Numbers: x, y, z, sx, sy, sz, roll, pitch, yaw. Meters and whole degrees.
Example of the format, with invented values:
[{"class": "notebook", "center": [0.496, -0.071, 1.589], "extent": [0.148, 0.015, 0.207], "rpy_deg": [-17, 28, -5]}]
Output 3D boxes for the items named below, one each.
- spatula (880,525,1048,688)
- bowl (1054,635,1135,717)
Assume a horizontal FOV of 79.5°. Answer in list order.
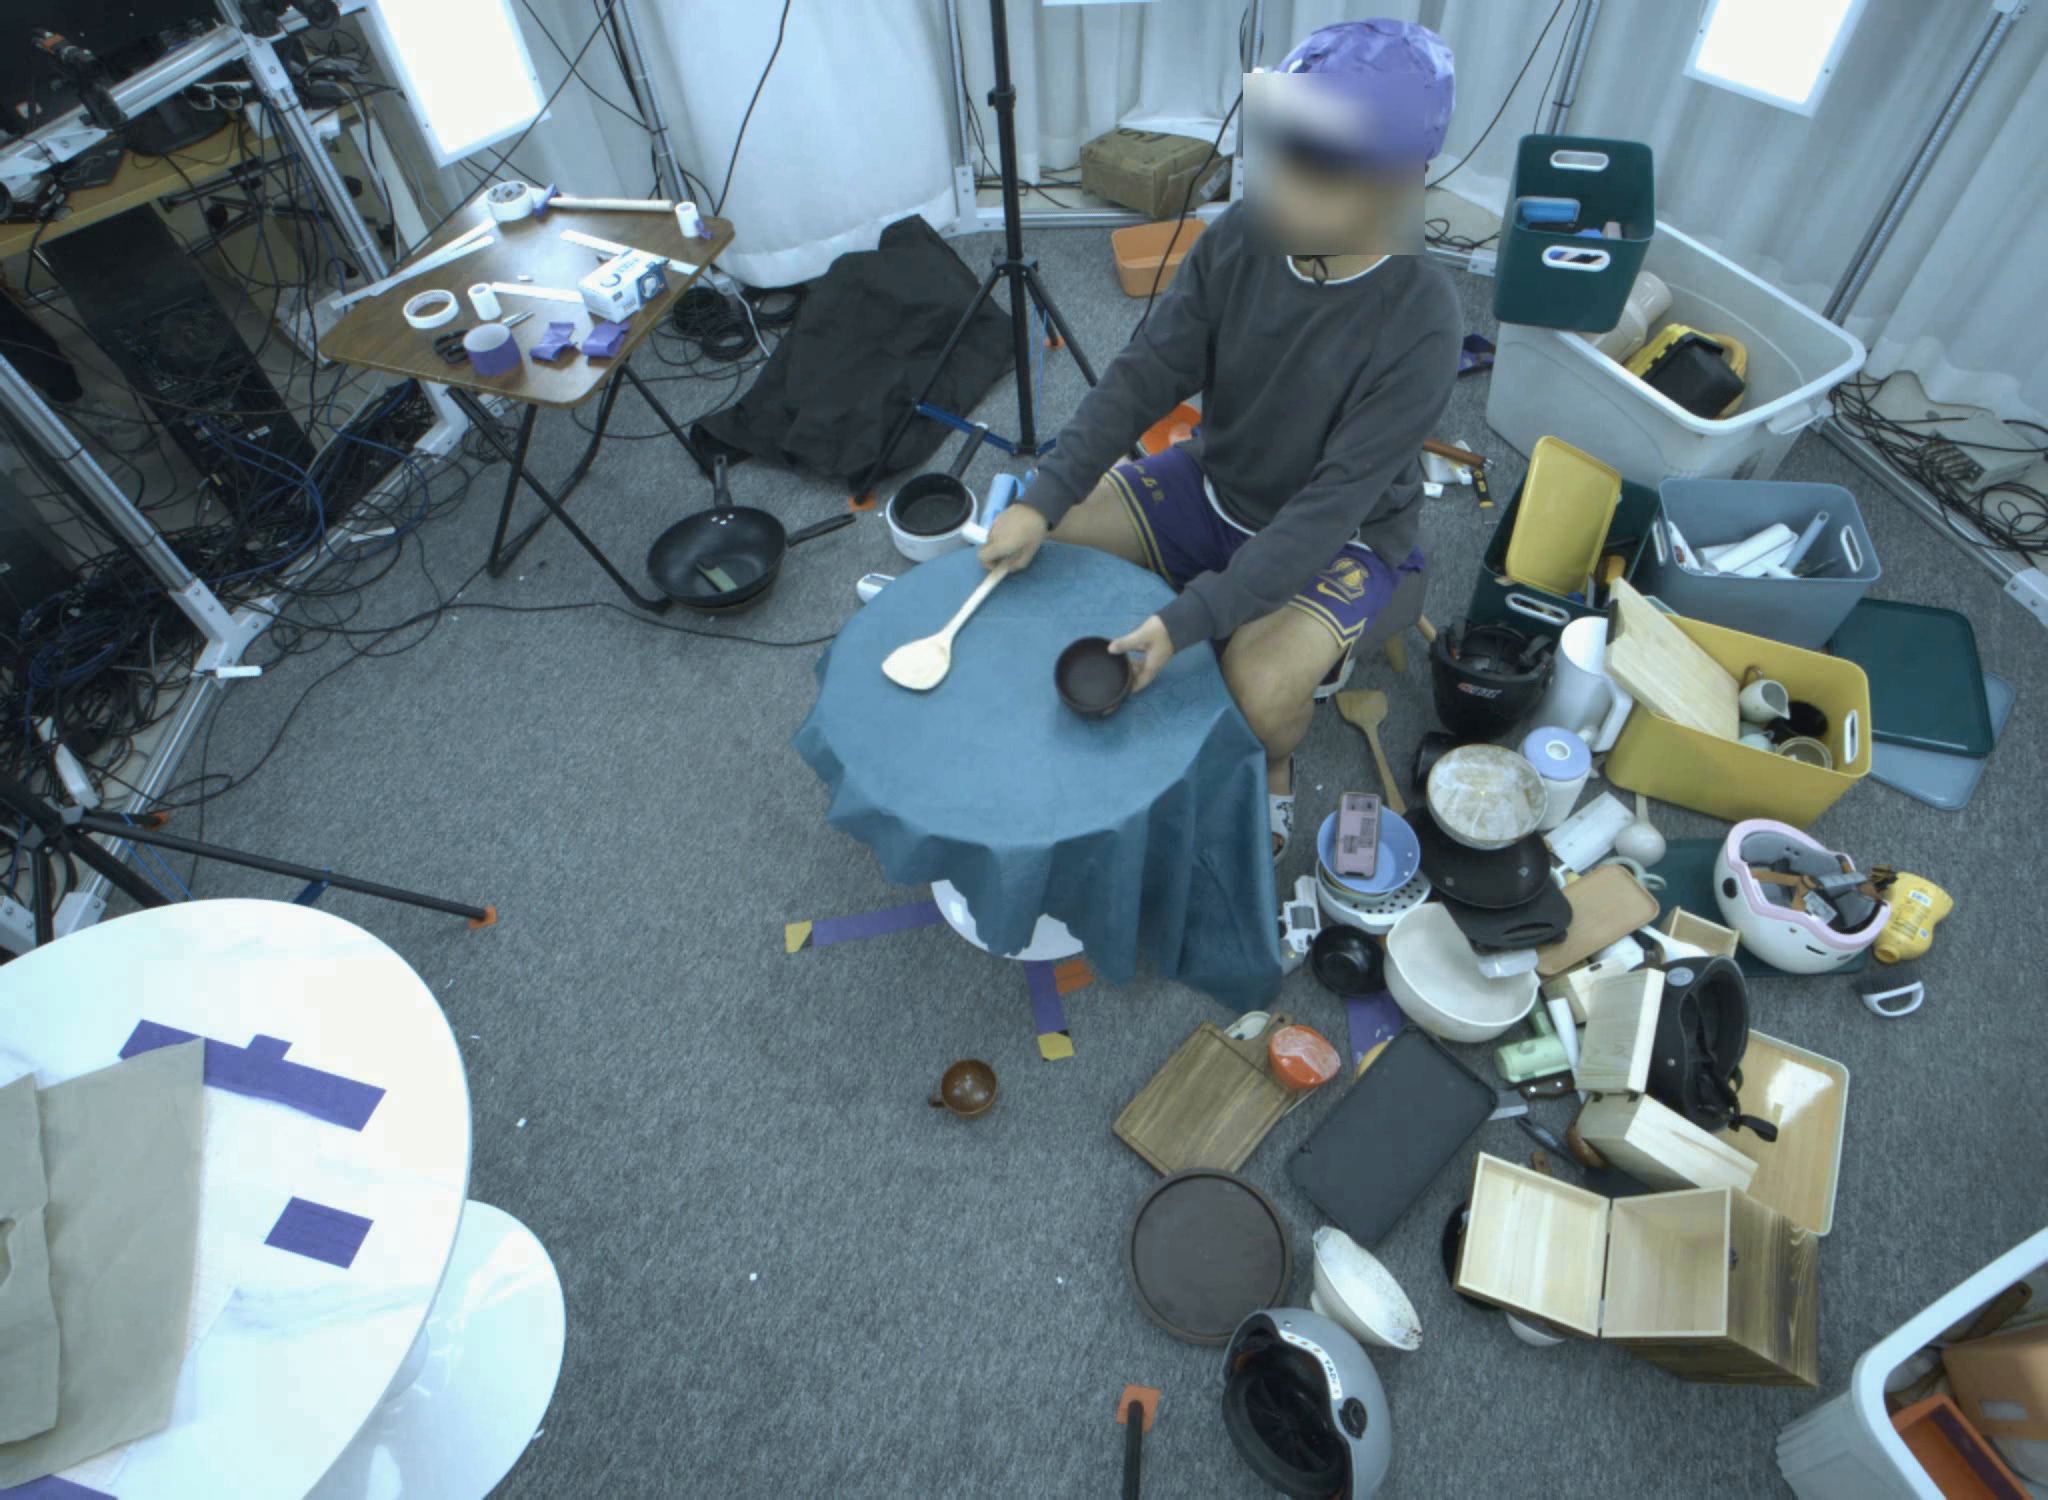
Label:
[{"class": "spatula", "center": [-0.082, -0.238, 1.946], "extent": [0.094, 0.018, 0.392], "rpy_deg": [29, 63, 18]}, {"class": "bowl", "center": [0.105, -0.103, 1.807], "extent": [0.117, 0.070, 0.117], "rpy_deg": [-1, 74, 6]}]
